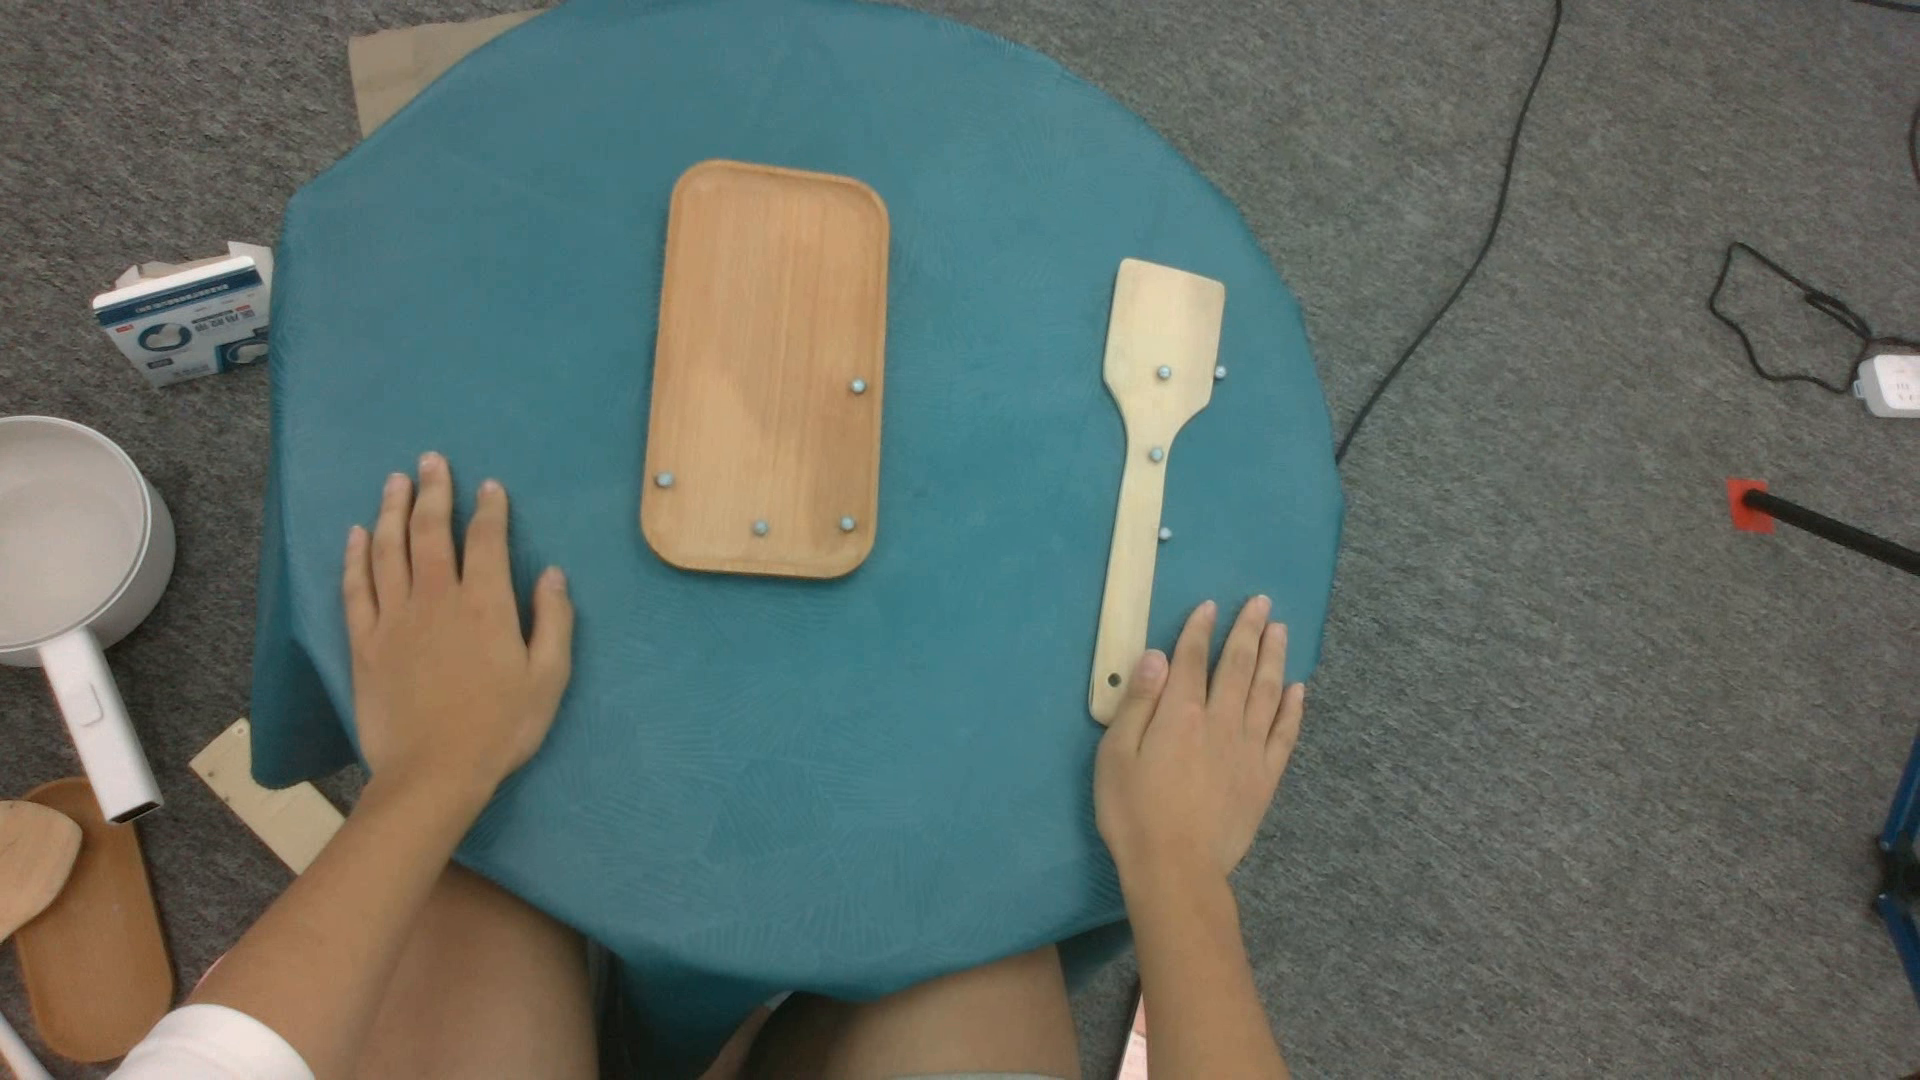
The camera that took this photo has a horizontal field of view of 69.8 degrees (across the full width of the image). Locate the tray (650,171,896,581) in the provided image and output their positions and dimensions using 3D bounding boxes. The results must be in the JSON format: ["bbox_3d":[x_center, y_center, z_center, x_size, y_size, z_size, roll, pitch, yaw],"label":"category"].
[{"bbox_3d":[-0.106,-0.098,0.798,0.130,0.023,0.251,6,71,-11],"label":"tray"}]

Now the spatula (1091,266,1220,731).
[{"bbox_3d":[0.109,-0.030,0.820,0.072,0.010,0.294,12,70,-8],"label":"spatula"}]
